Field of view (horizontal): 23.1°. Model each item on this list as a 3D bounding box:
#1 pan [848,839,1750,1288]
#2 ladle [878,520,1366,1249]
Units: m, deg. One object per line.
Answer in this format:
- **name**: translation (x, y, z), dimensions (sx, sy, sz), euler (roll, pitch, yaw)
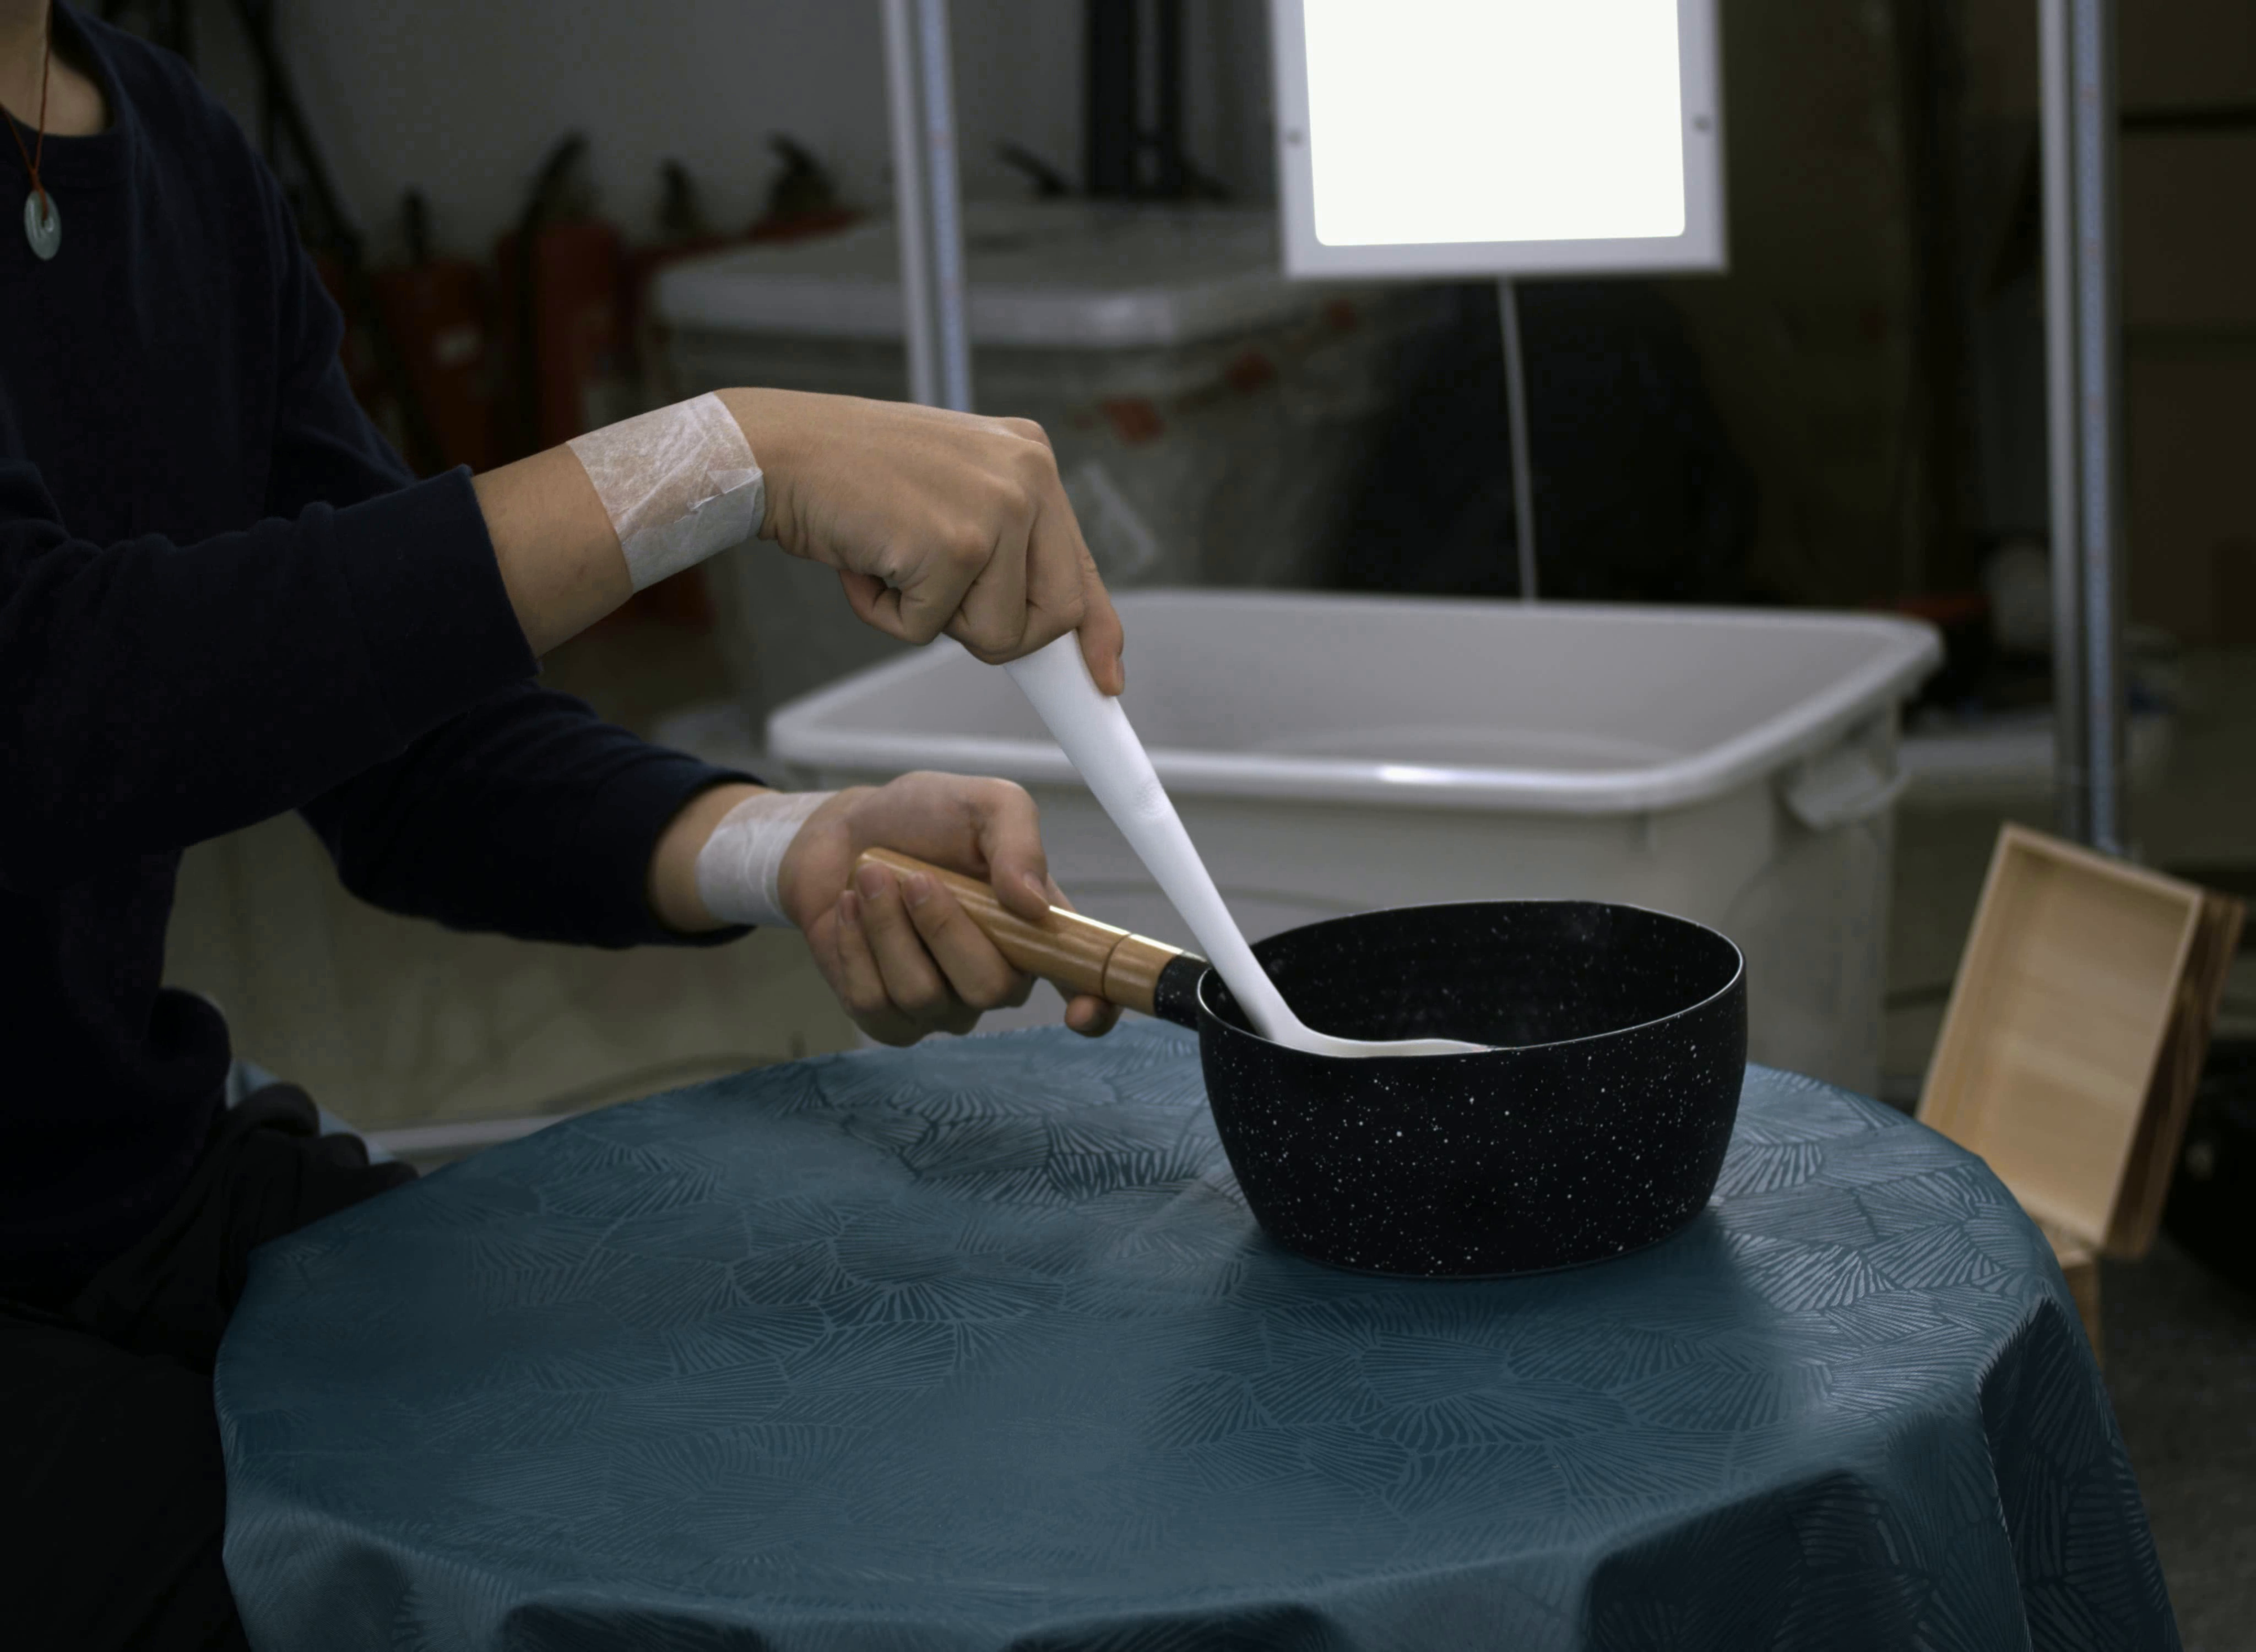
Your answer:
- **pan**: translation (0.049, 0.072, 1.874), dimensions (0.349, 0.108, 0.202), euler (6, 18, 33)
- **ladle**: translation (0.026, 0.019, 1.809), dimensions (0.088, 0.292, 0.071), euler (-41, 8, -31)
